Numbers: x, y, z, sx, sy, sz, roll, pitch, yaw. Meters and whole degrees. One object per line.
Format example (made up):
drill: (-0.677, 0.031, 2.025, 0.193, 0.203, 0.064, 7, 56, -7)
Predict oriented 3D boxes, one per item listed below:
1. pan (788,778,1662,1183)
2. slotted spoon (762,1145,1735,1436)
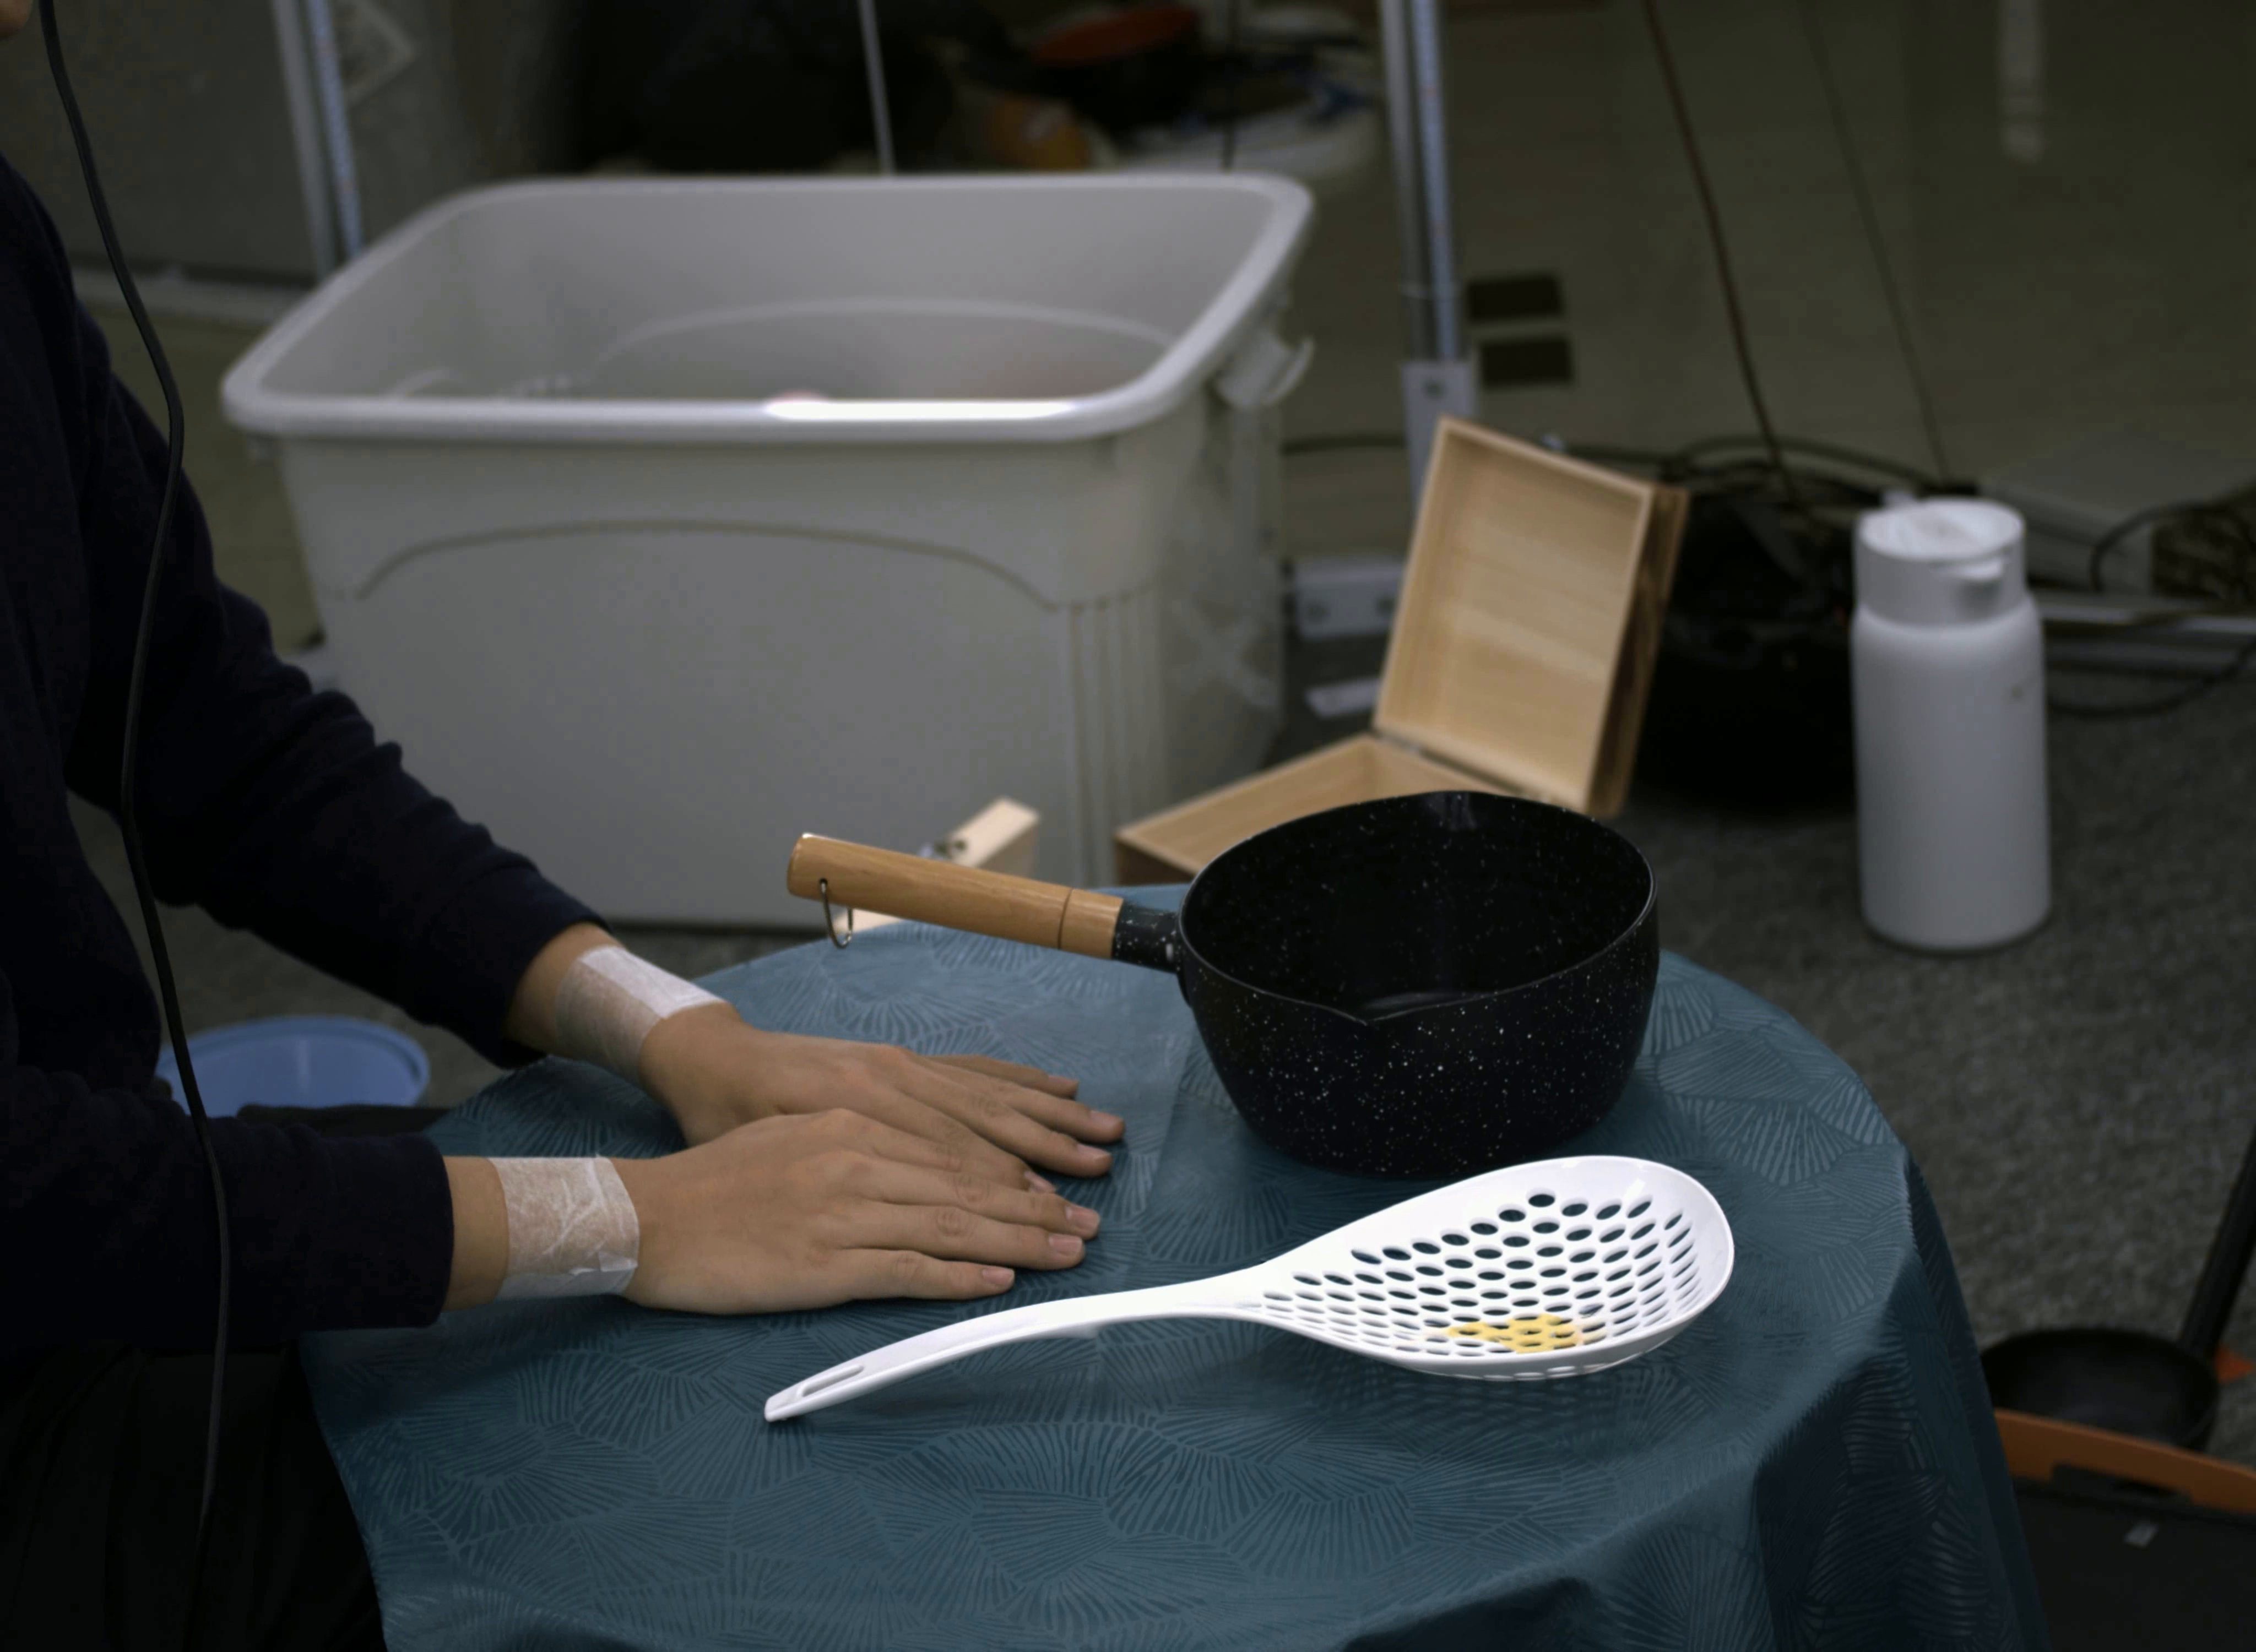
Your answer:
pan: (0.036, 0.054, 2.190, 0.342, 0.110, 0.204, 1, 27, 12)
slotted spoon: (0.041, 0.175, 2.007, 0.347, 0.051, 0.135, -4, 27, 1)
